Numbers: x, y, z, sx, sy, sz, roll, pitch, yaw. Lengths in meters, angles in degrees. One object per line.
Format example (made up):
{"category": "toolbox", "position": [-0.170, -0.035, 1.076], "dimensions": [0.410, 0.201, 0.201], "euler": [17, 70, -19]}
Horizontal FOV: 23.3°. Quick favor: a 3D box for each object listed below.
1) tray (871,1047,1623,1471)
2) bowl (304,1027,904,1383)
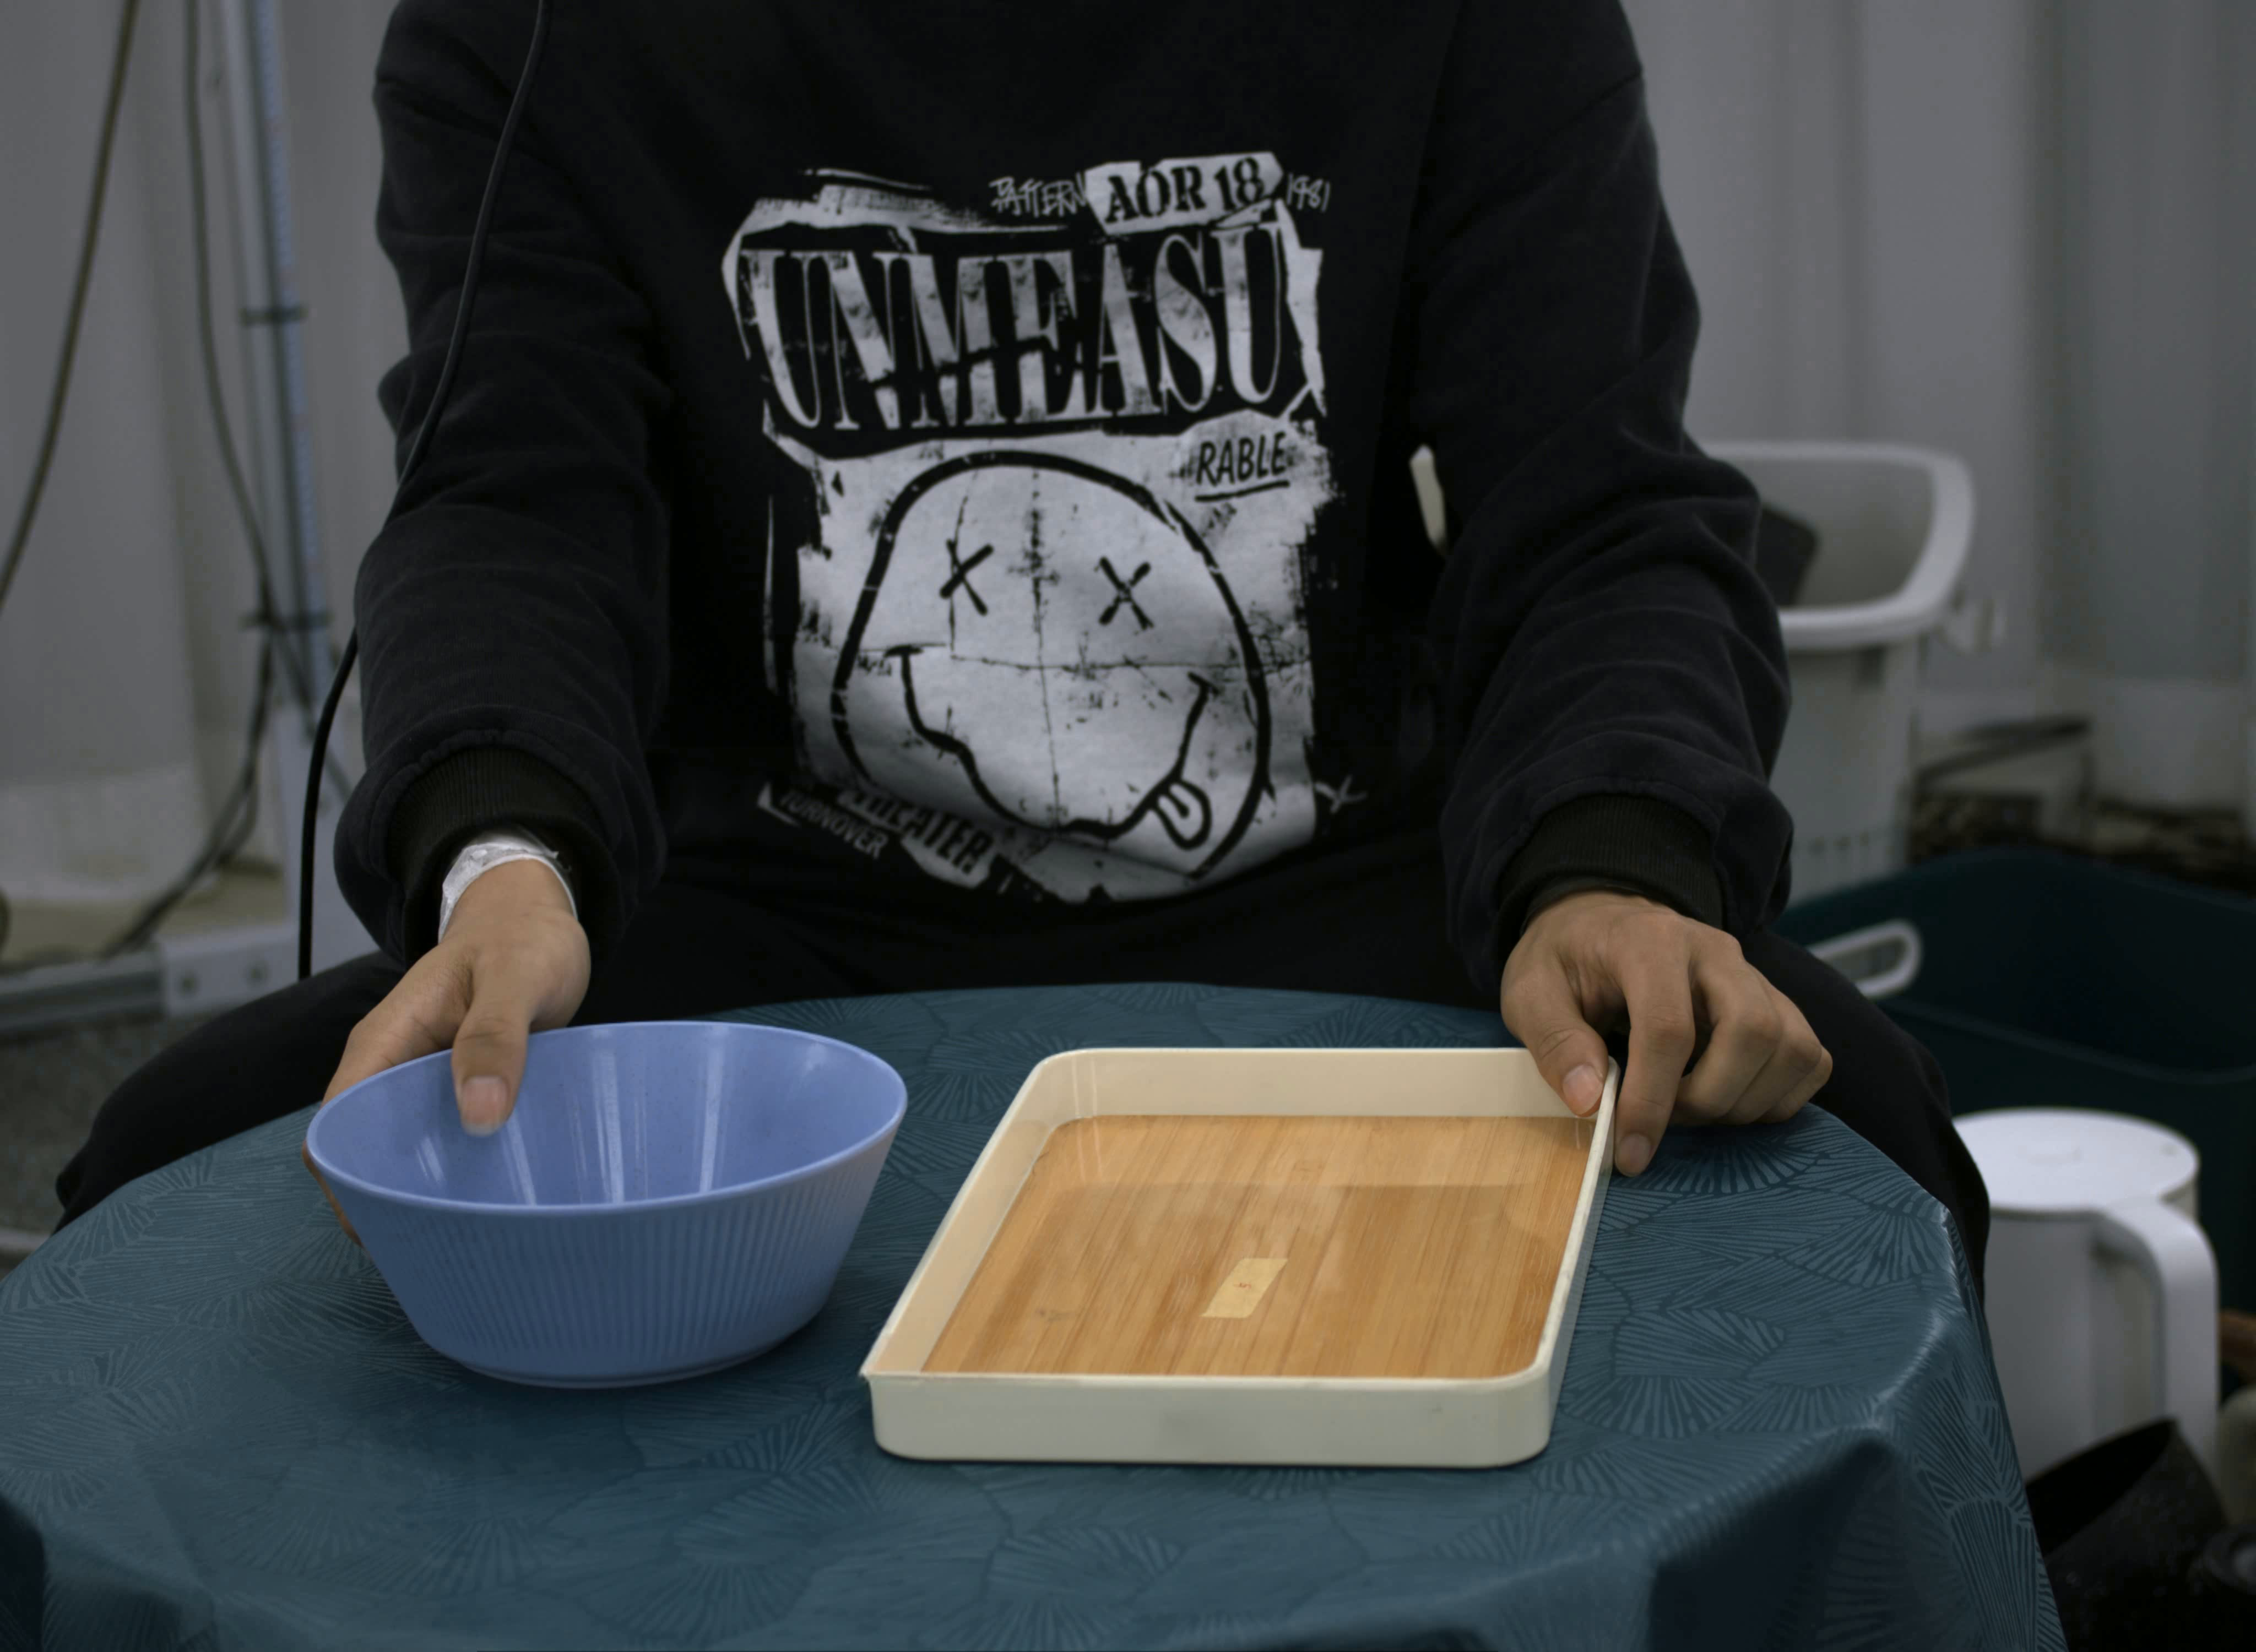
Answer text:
{"category": "tray", "position": [0.043, 0.124, 1.622], "dimensions": [0.191, 0.027, 0.302], "euler": [-1, 15, 10]}
{"category": "bowl", "position": [-0.152, 0.114, 1.609], "dimensions": [0.175, 0.070, 0.177], "euler": [-2, 14, 0]}
